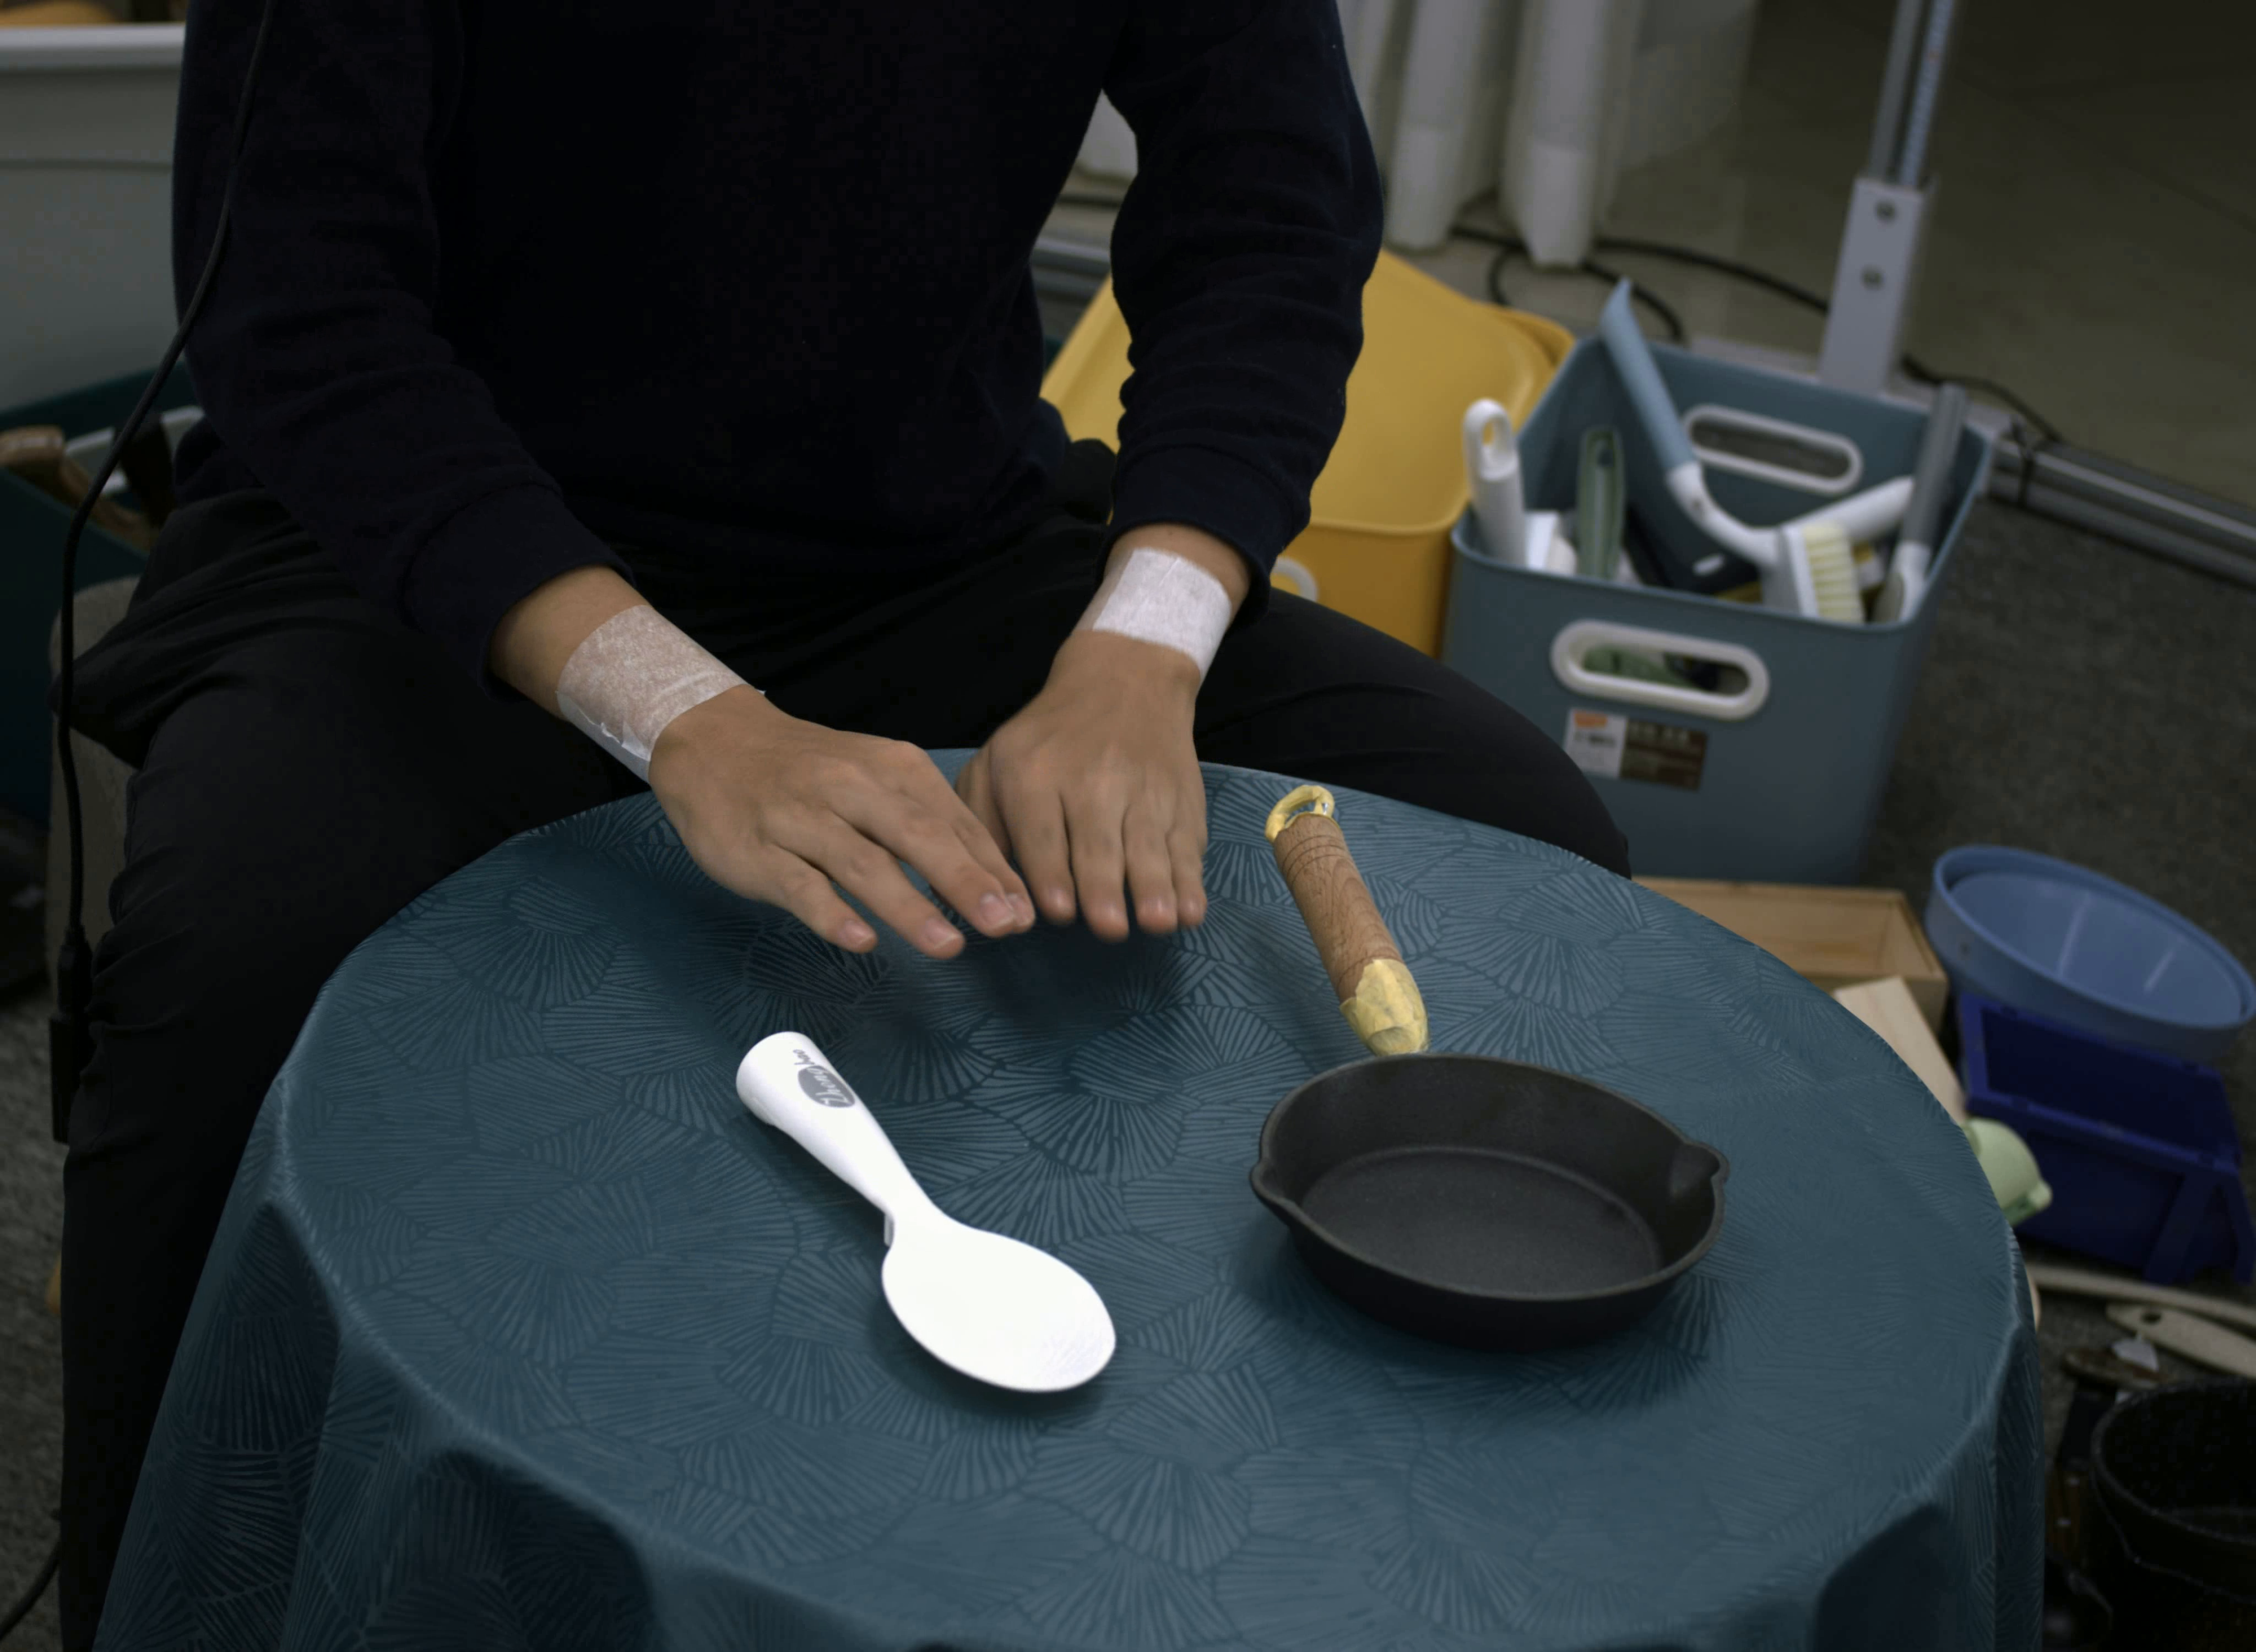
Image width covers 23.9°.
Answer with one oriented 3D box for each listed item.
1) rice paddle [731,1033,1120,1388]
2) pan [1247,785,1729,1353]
[{"bbox_3d":[-0.070,0.128,1.747,0.068,0.029,0.207,-13,33,-28],"label":"rice paddle"},{"bbox_3d":[0.101,0.082,1.852,0.168,0.049,0.327,-1,29,-14],"label":"pan"}]
